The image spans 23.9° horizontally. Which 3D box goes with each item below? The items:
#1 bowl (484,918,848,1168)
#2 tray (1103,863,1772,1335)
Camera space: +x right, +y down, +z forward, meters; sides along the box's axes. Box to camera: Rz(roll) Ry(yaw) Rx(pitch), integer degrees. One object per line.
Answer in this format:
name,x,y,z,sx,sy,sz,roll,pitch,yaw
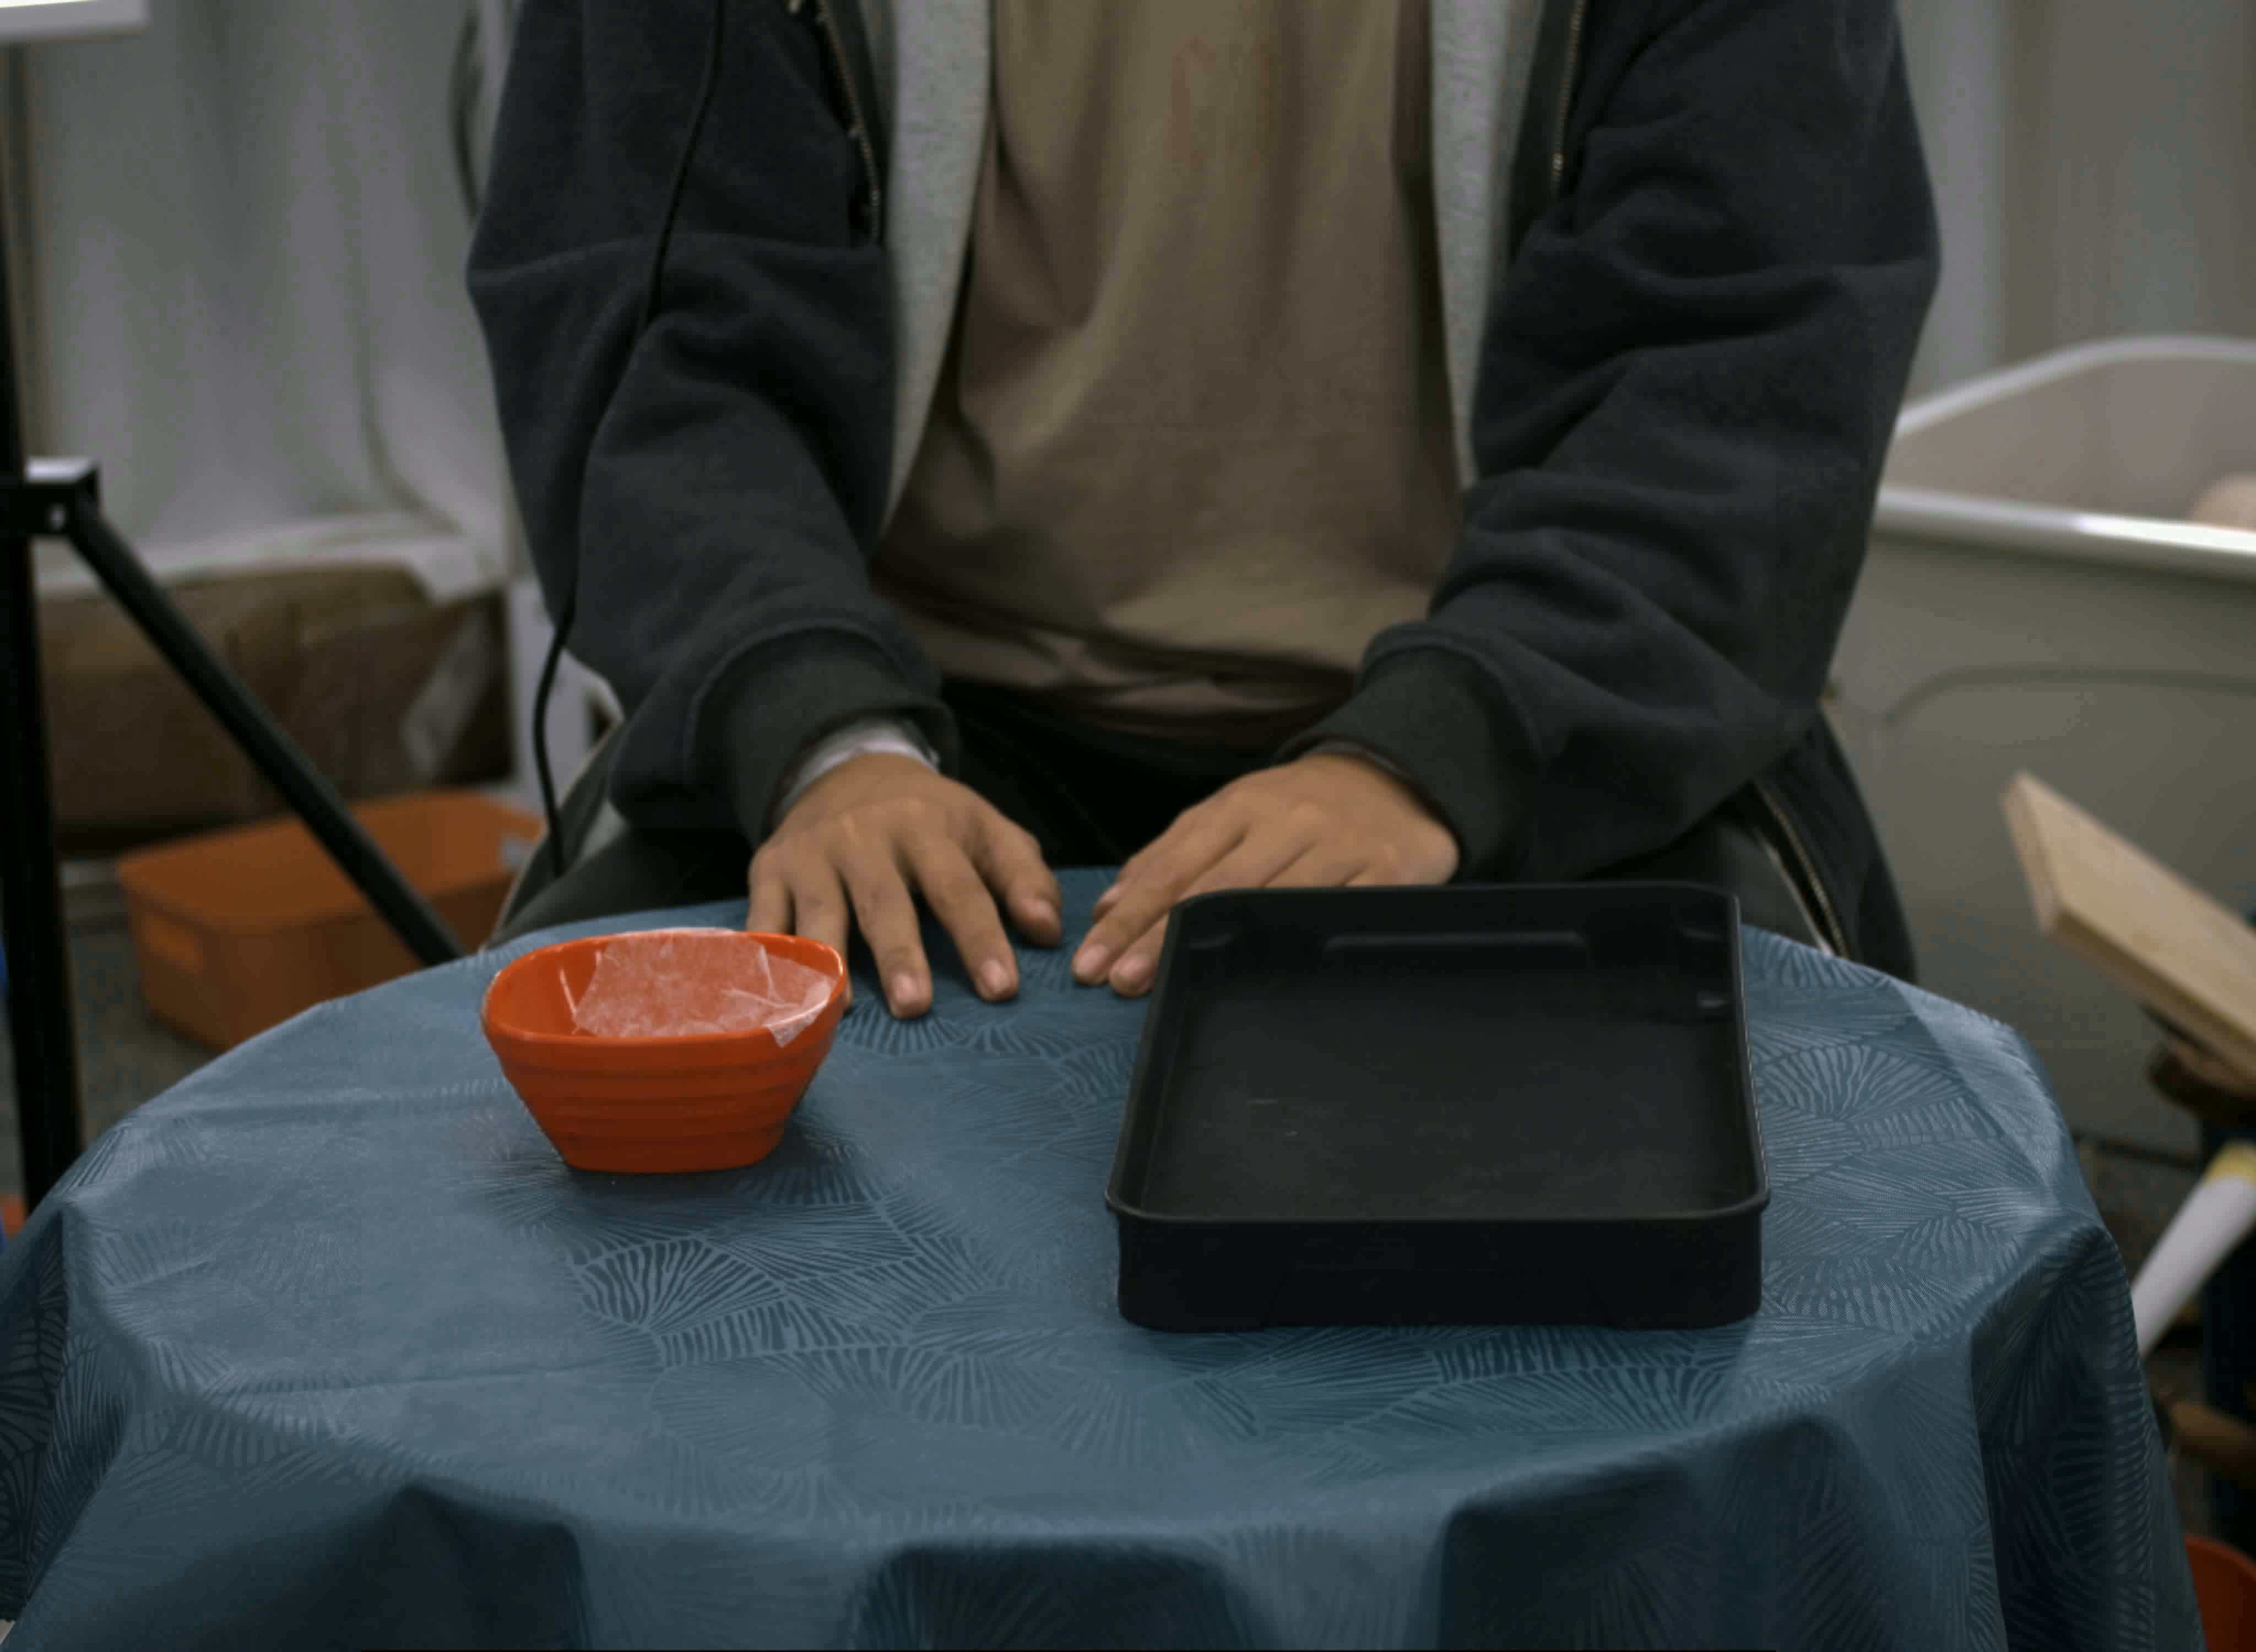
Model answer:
bowl,-0.138,0.069,1.622,0.118,0.051,0.119,-4,17,0
tray,0.094,0.076,1.583,0.184,0.037,0.318,-1,17,5
